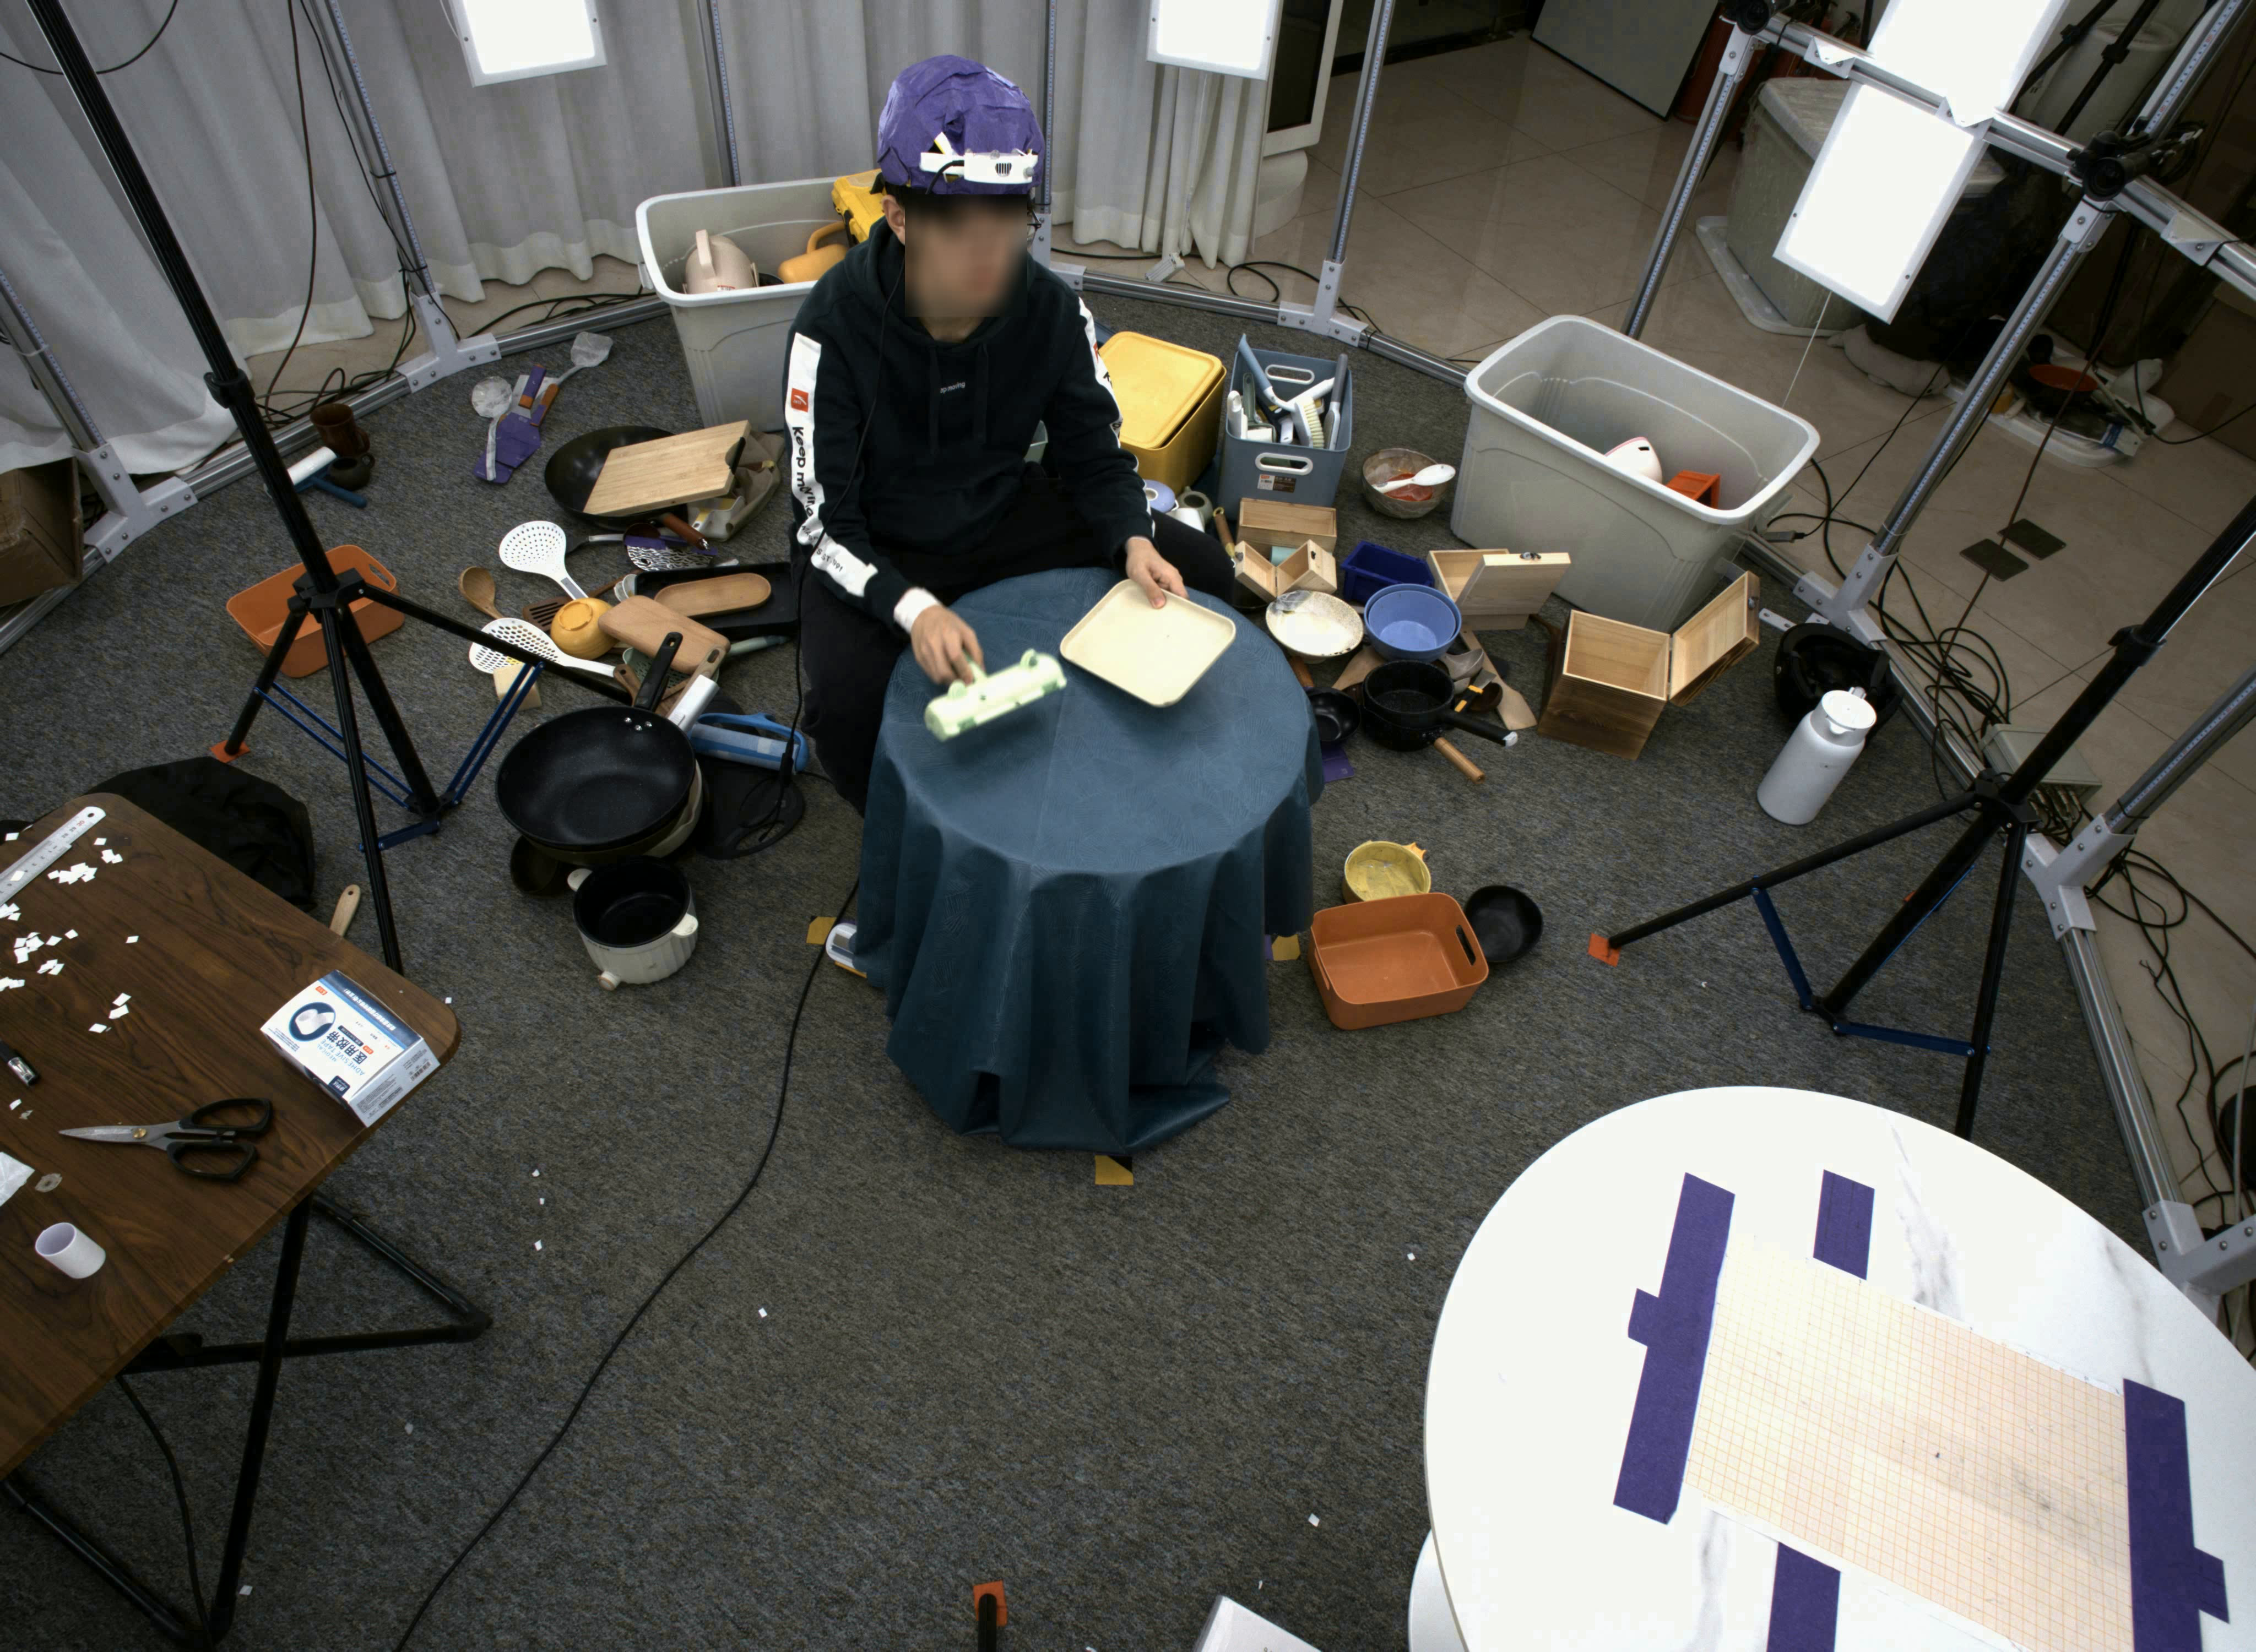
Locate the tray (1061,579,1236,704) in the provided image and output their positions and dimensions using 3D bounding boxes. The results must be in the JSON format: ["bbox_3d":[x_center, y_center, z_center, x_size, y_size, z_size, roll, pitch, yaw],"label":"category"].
[{"bbox_3d":[0.028,-0.263,1.827,0.243,0.017,0.172,30,70,39],"label":"tray"}]

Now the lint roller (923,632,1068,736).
[{"bbox_3d":[-0.208,-0.221,1.728,0.200,0.080,0.186,-27,60,-27],"label":"lint roller"}]
